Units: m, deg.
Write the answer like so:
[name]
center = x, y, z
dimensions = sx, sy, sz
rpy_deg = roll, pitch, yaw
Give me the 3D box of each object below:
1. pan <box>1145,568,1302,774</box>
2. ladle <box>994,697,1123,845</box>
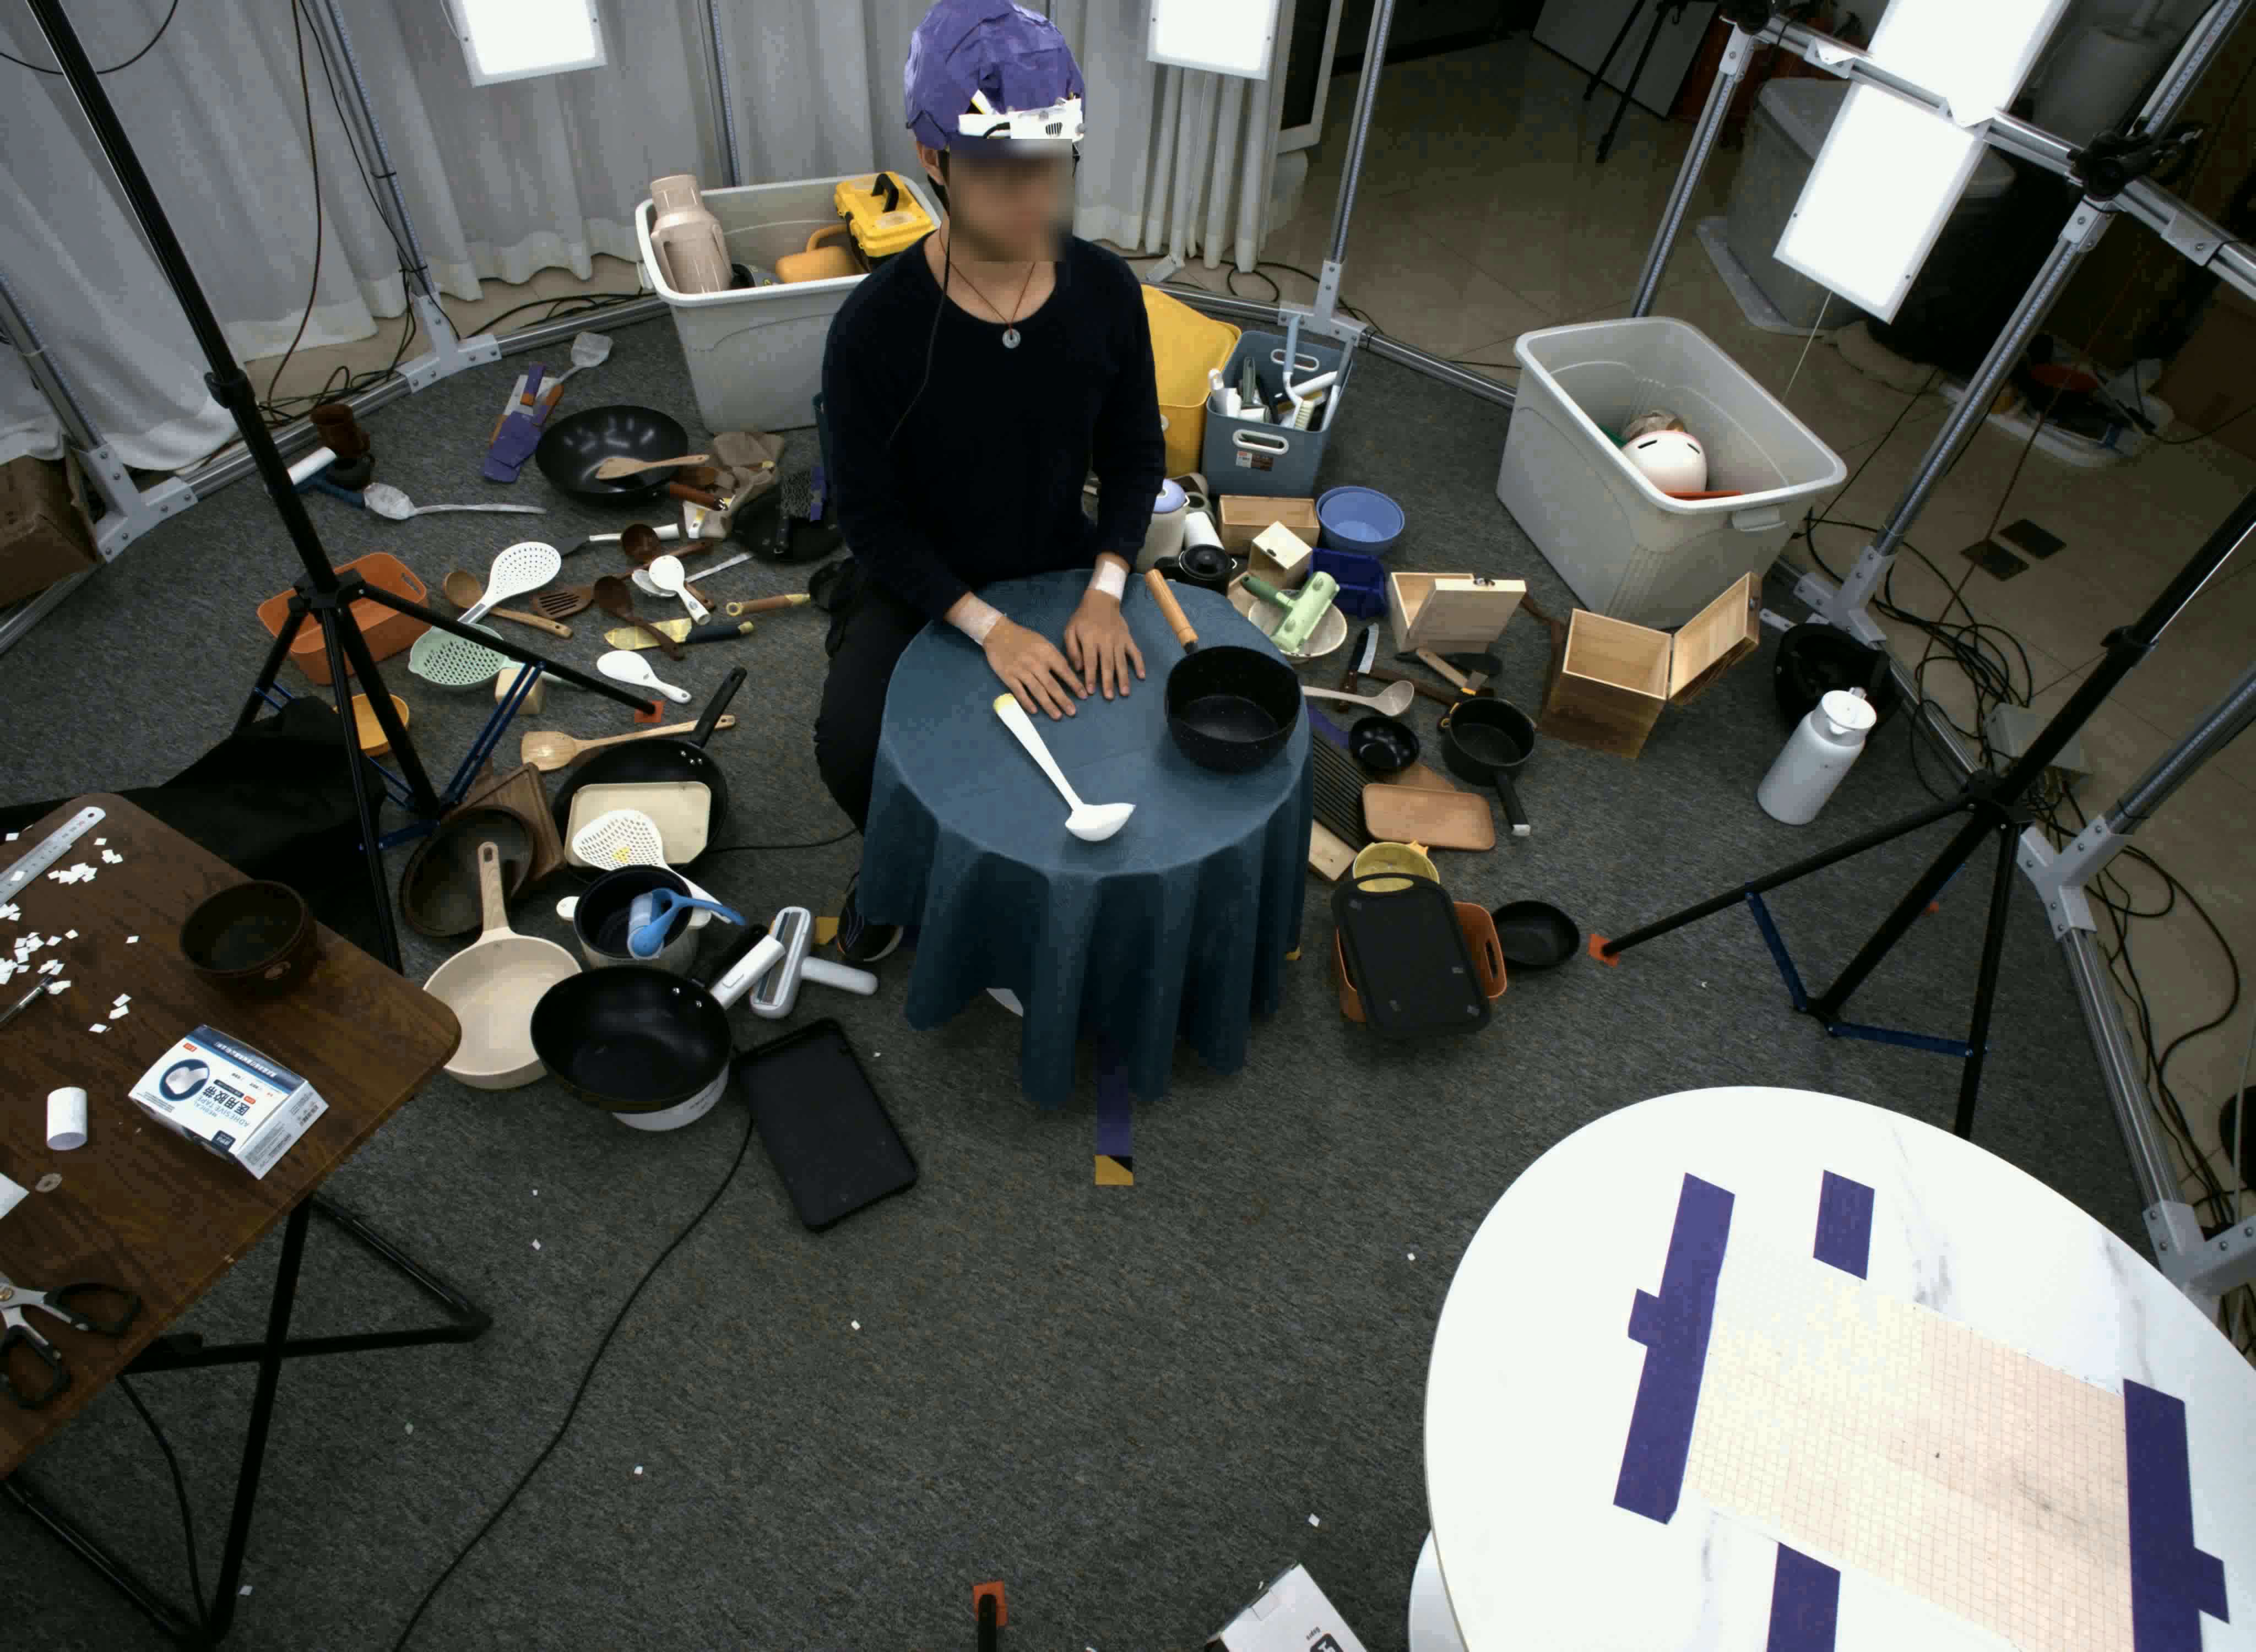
[pan]
center = 0.104, -0.218, 1.795
dimensions = 0.208, 0.105, 0.350
rpy_deg = -20, 55, -19
[ladle]
center = -0.103, -0.081, 1.691
dimensions = 0.090, 0.068, 0.299
rpy_deg = -24, 54, -16
